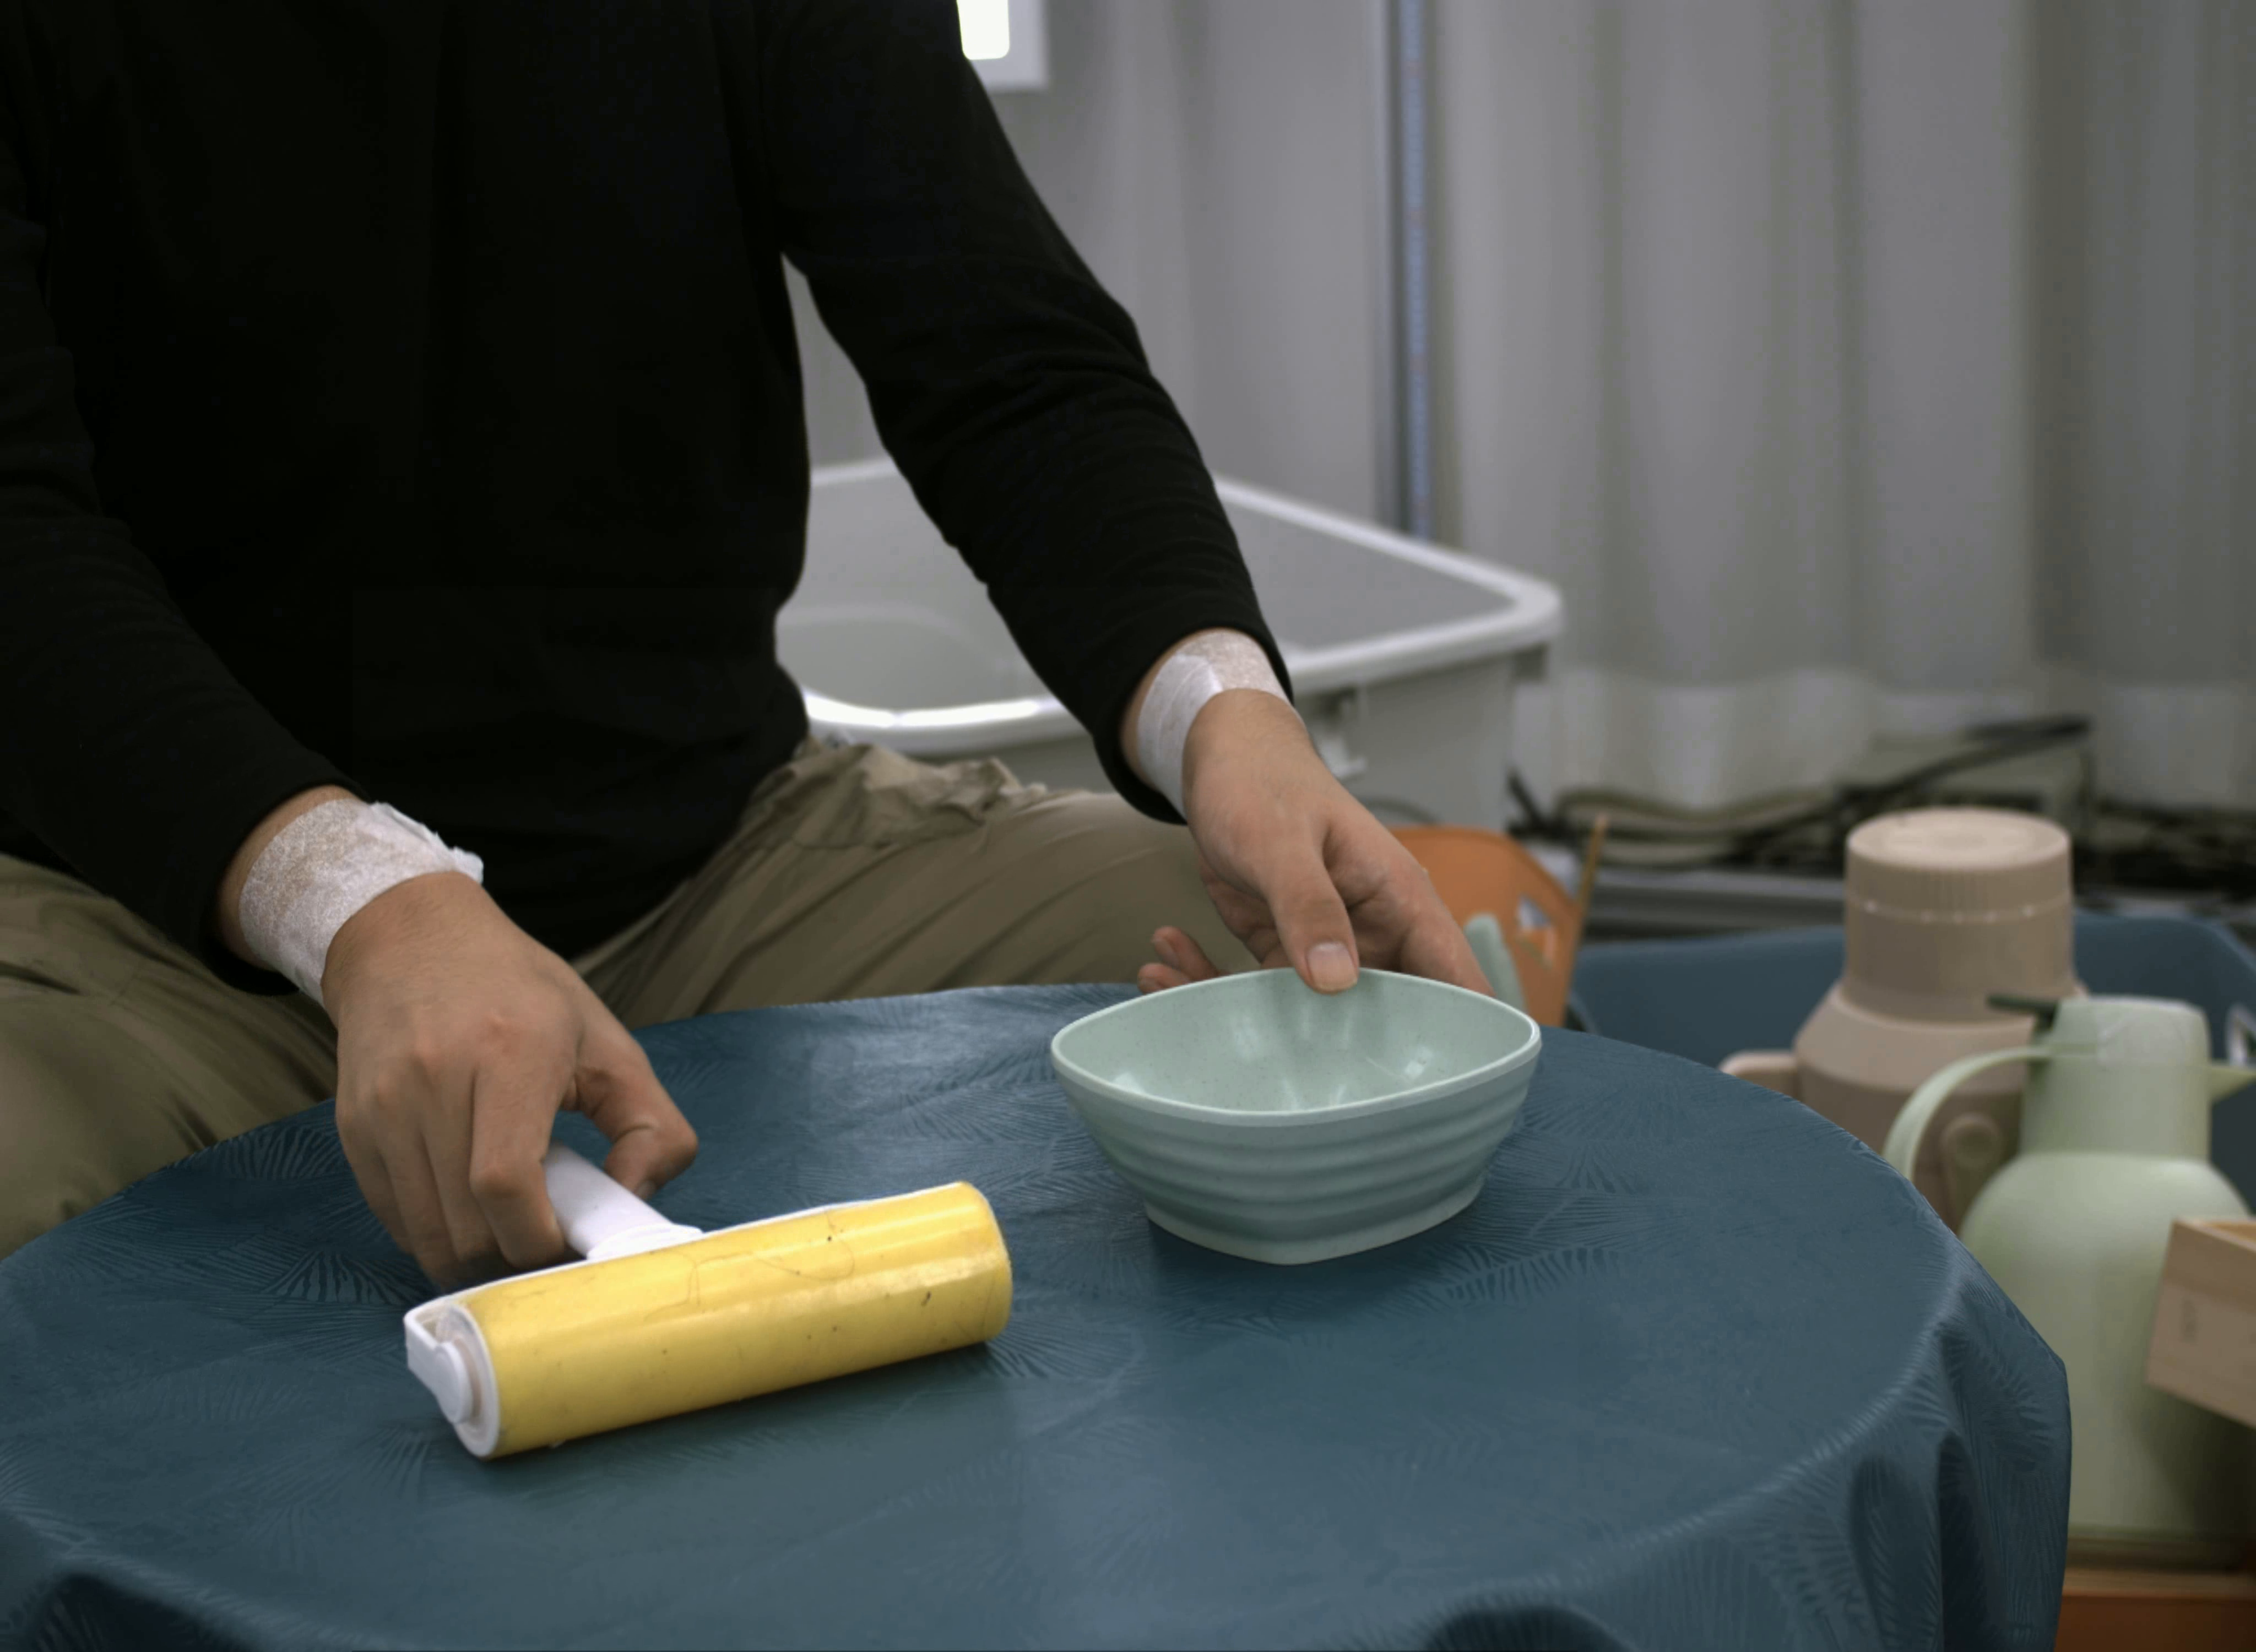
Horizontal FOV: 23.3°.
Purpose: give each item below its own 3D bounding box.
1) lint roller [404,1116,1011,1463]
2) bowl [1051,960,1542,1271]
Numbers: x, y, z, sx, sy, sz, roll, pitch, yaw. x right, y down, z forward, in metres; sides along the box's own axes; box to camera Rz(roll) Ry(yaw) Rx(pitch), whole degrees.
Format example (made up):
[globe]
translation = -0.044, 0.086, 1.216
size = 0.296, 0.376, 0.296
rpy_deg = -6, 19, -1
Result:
[lint roller]
translation = -0.151, 0.114, 1.607
size = 0.173, 0.051, 0.194
rpy_deg = -12, 29, -29
[bowl]
translation = 0.052, 0.092, 1.680
size = 0.151, 0.058, 0.152
rpy_deg = -2, 16, 0
